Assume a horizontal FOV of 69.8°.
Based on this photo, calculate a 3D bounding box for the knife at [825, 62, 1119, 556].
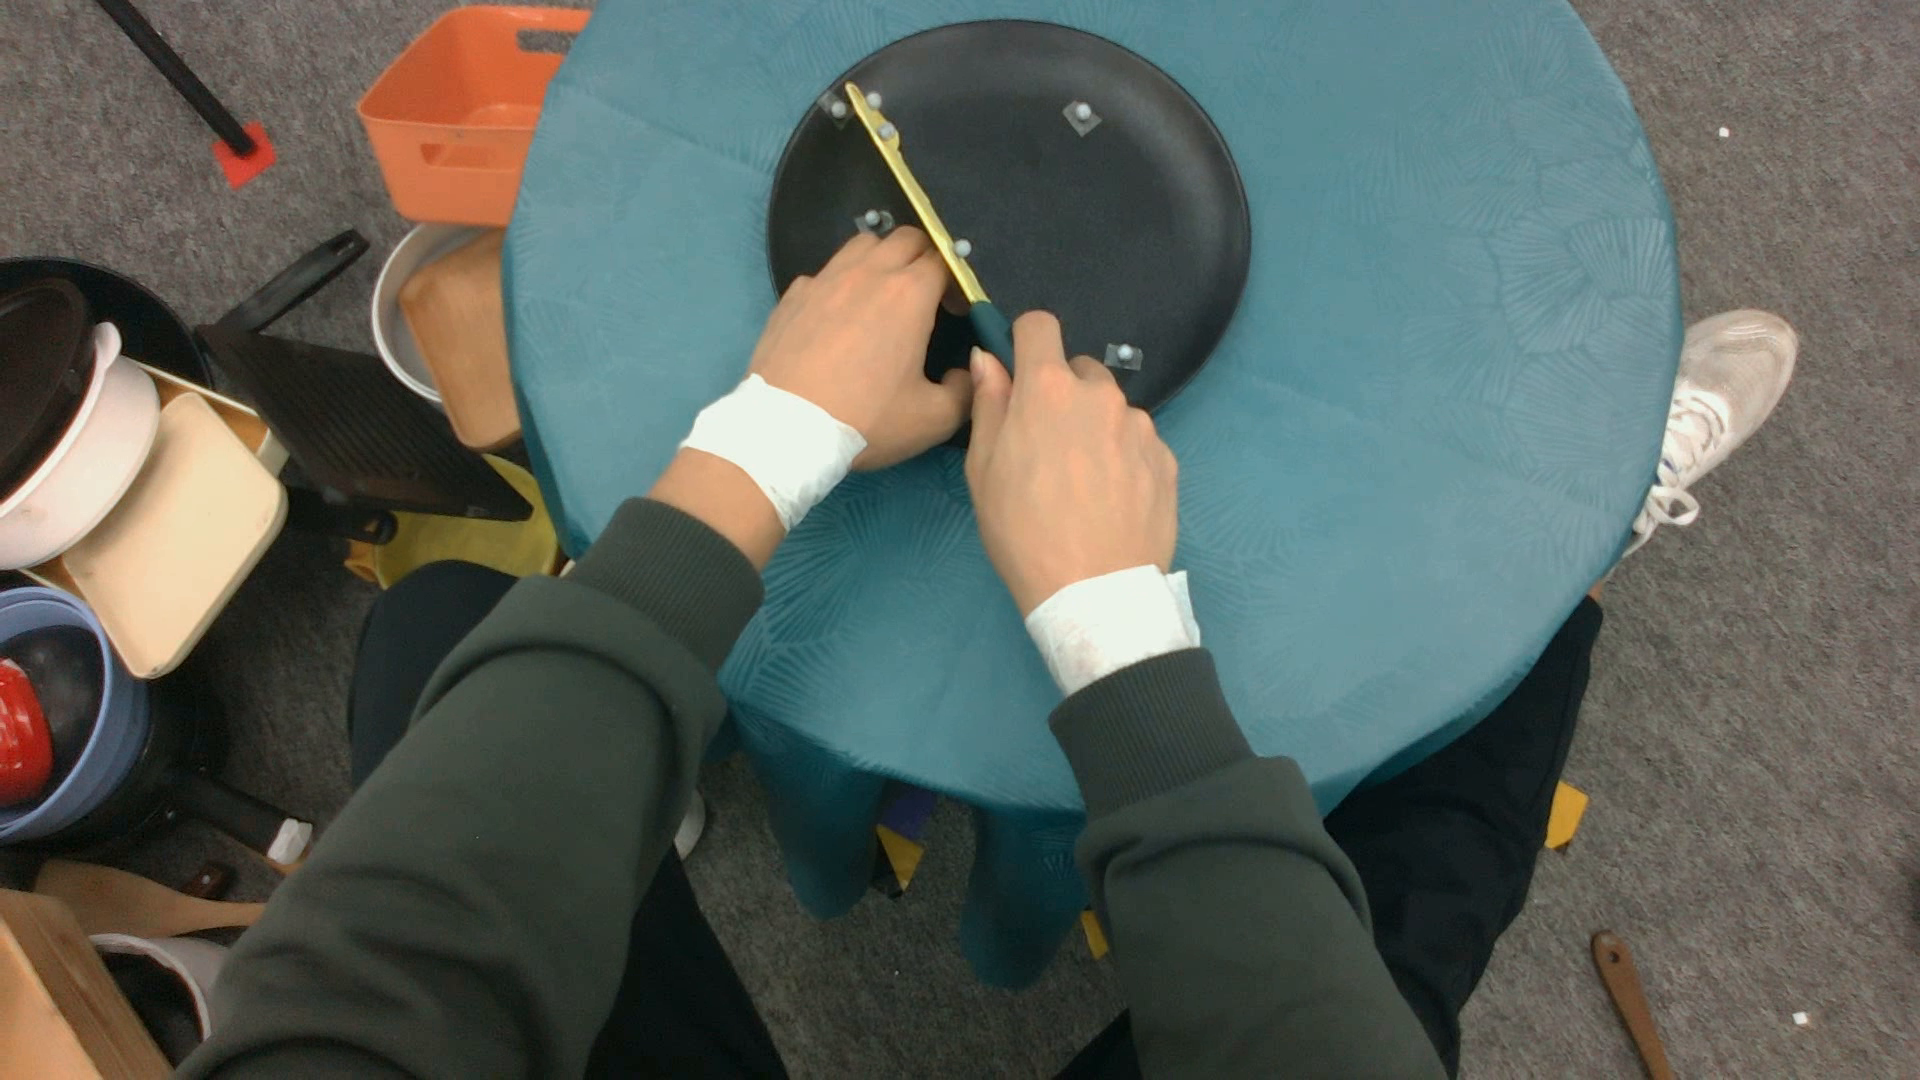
[{"bbox_3d":[0.001,-0.116,0.650,0.027,0.081,0.290,-32,72,13],"label":"knife"}]

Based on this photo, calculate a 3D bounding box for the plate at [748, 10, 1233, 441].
[{"bbox_3d":[0.015,-0.162,0.699,0.244,0.023,0.245,0,72,-1],"label":"plate"}]
